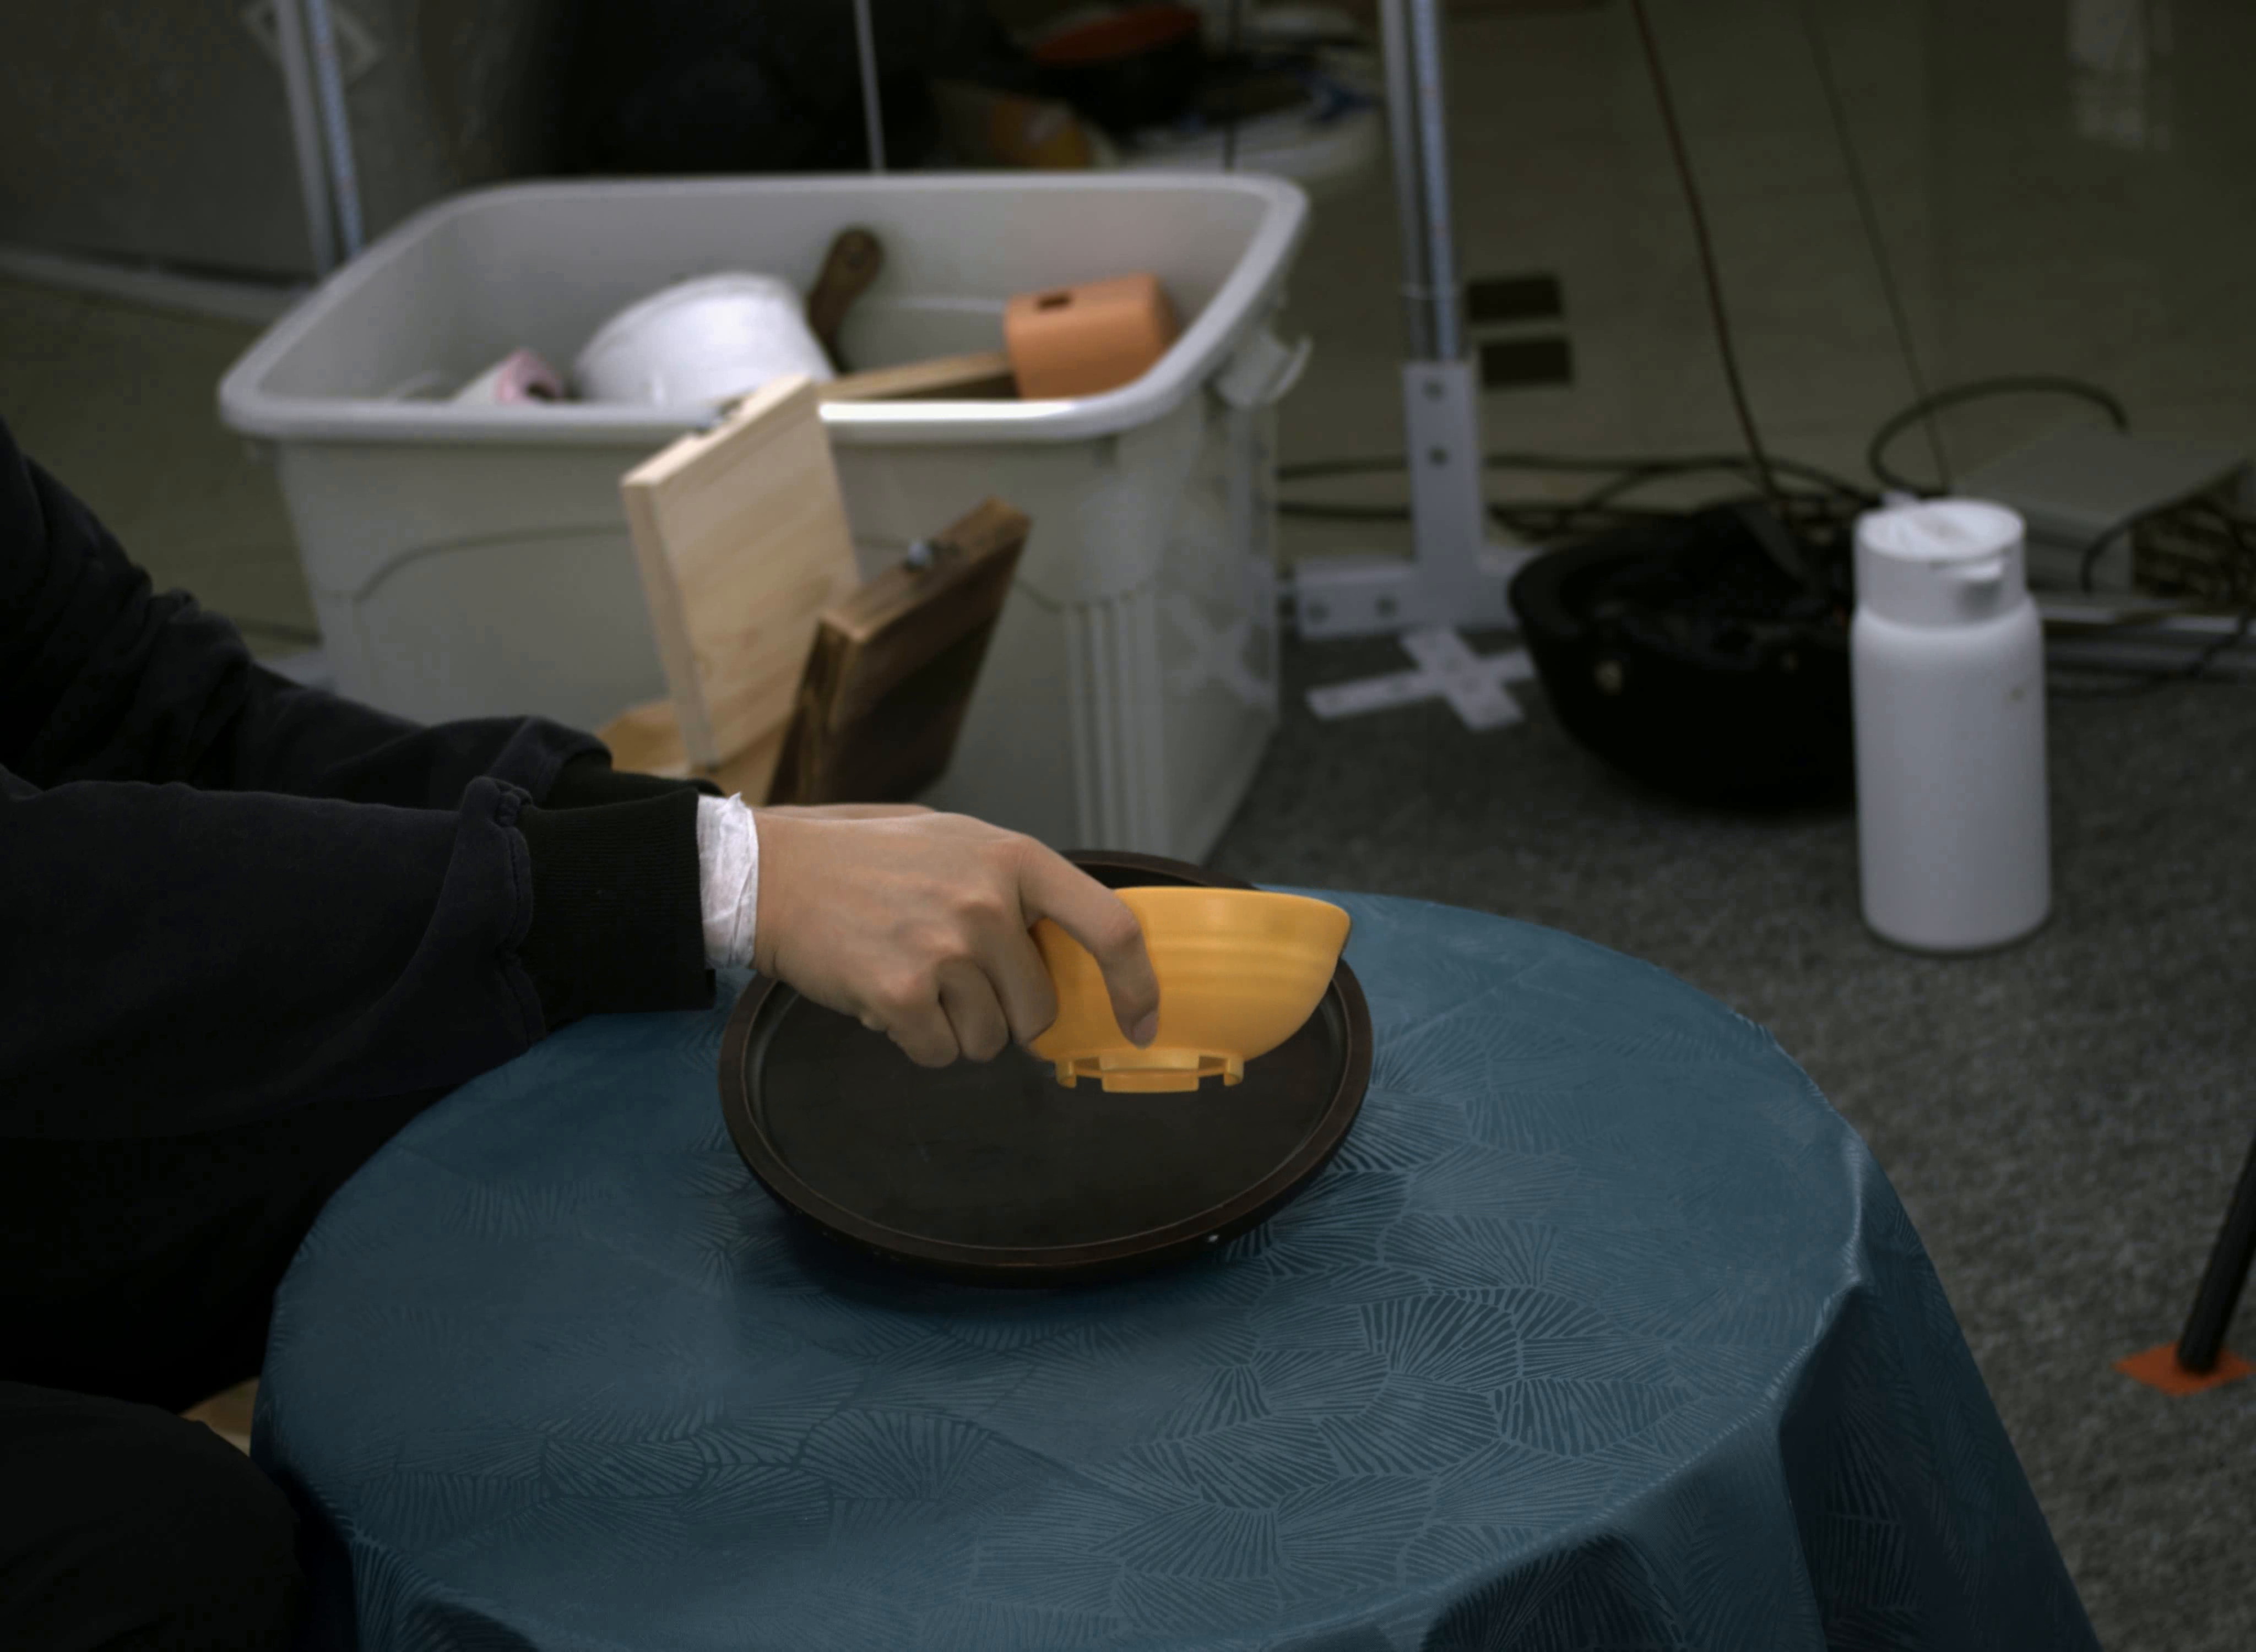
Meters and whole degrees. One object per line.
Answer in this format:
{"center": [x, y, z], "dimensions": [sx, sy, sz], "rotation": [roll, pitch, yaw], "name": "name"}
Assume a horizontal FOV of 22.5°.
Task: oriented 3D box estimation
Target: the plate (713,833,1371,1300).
{"center": [-0.033, 0.093, 2.174], "dimensions": [0.254, 0.029, 0.250], "rotation": [-2, 40, 2], "name": "plate"}

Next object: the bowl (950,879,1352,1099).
{"center": [0.009, 0.063, 2.022], "dimensions": [0.145, 0.060, 0.146], "rotation": [-2, -12, 0], "name": "bowl"}
